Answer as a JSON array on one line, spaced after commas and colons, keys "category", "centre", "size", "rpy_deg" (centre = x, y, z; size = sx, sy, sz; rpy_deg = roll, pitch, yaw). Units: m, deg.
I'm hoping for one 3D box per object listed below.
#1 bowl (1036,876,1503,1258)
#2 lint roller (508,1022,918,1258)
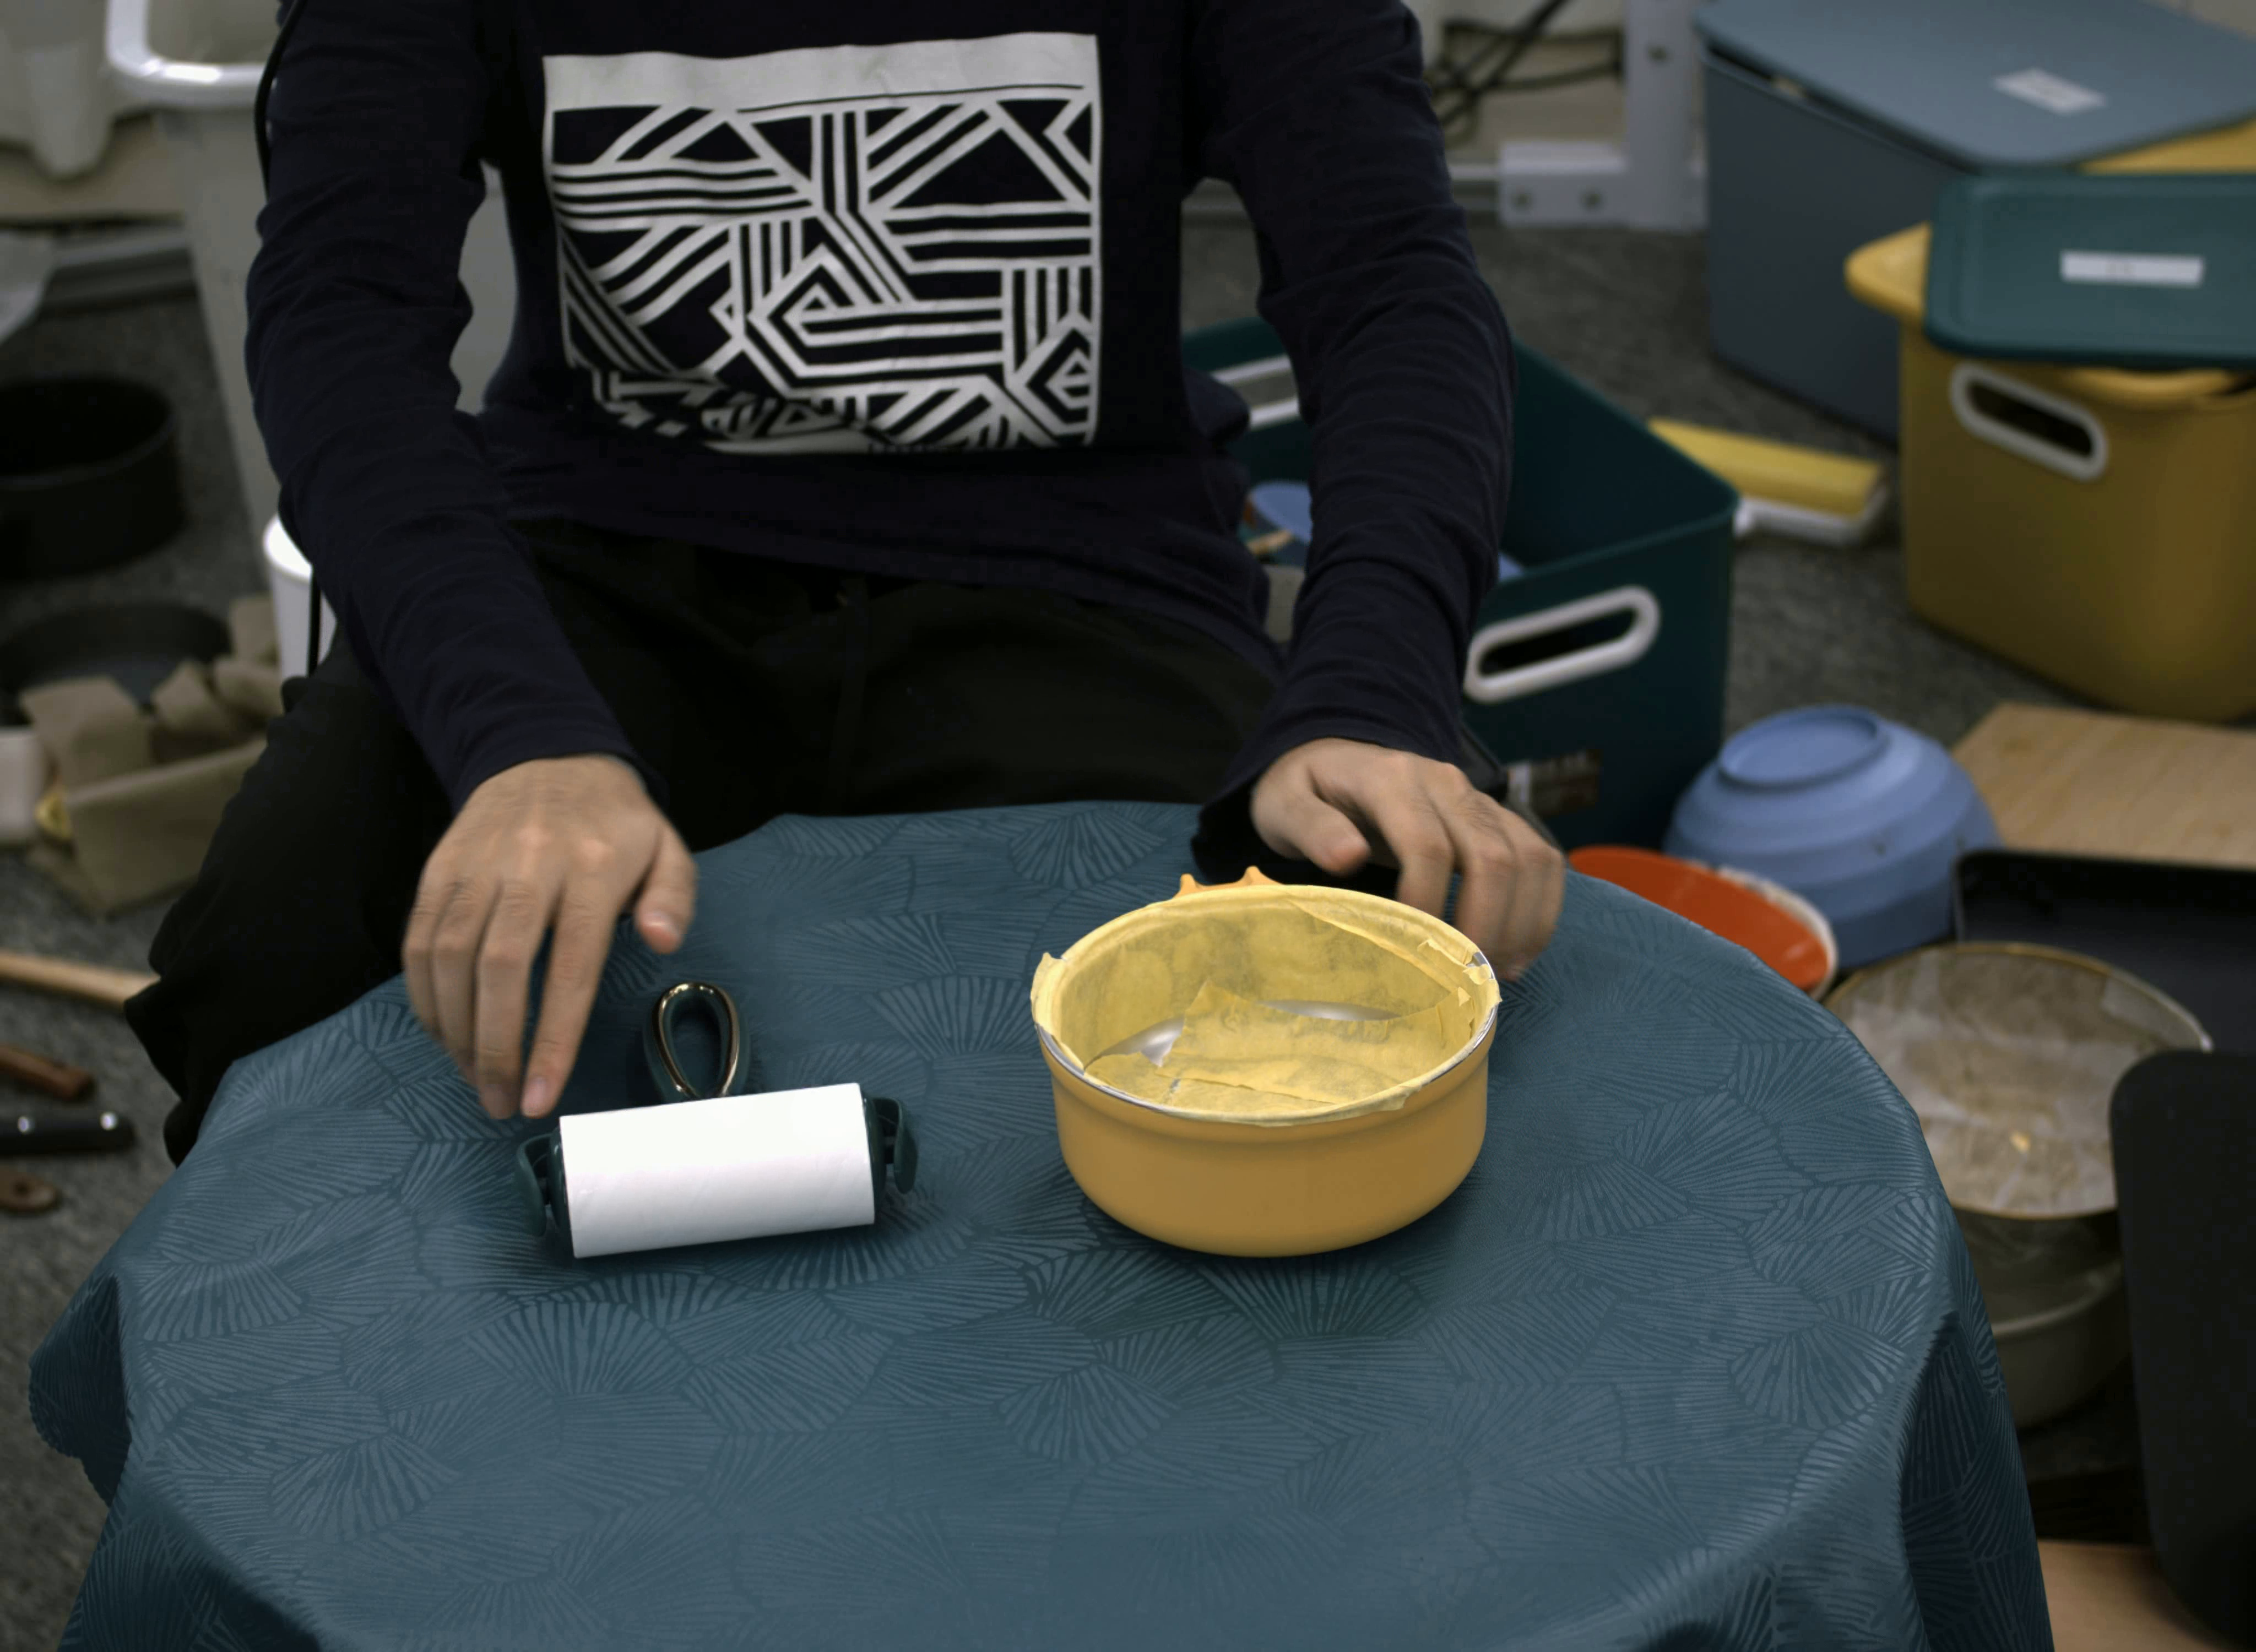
[{"category": "bowl", "centre": [0.046, 0.079, 1.869], "size": [0.153, 0.073, 0.181], "rpy_deg": [-11, 28, -11]}, {"category": "lint roller", "centre": [-0.145, 0.087, 1.901], "size": [0.134, 0.048, 0.182], "rpy_deg": [-7, 23, -6]}]
